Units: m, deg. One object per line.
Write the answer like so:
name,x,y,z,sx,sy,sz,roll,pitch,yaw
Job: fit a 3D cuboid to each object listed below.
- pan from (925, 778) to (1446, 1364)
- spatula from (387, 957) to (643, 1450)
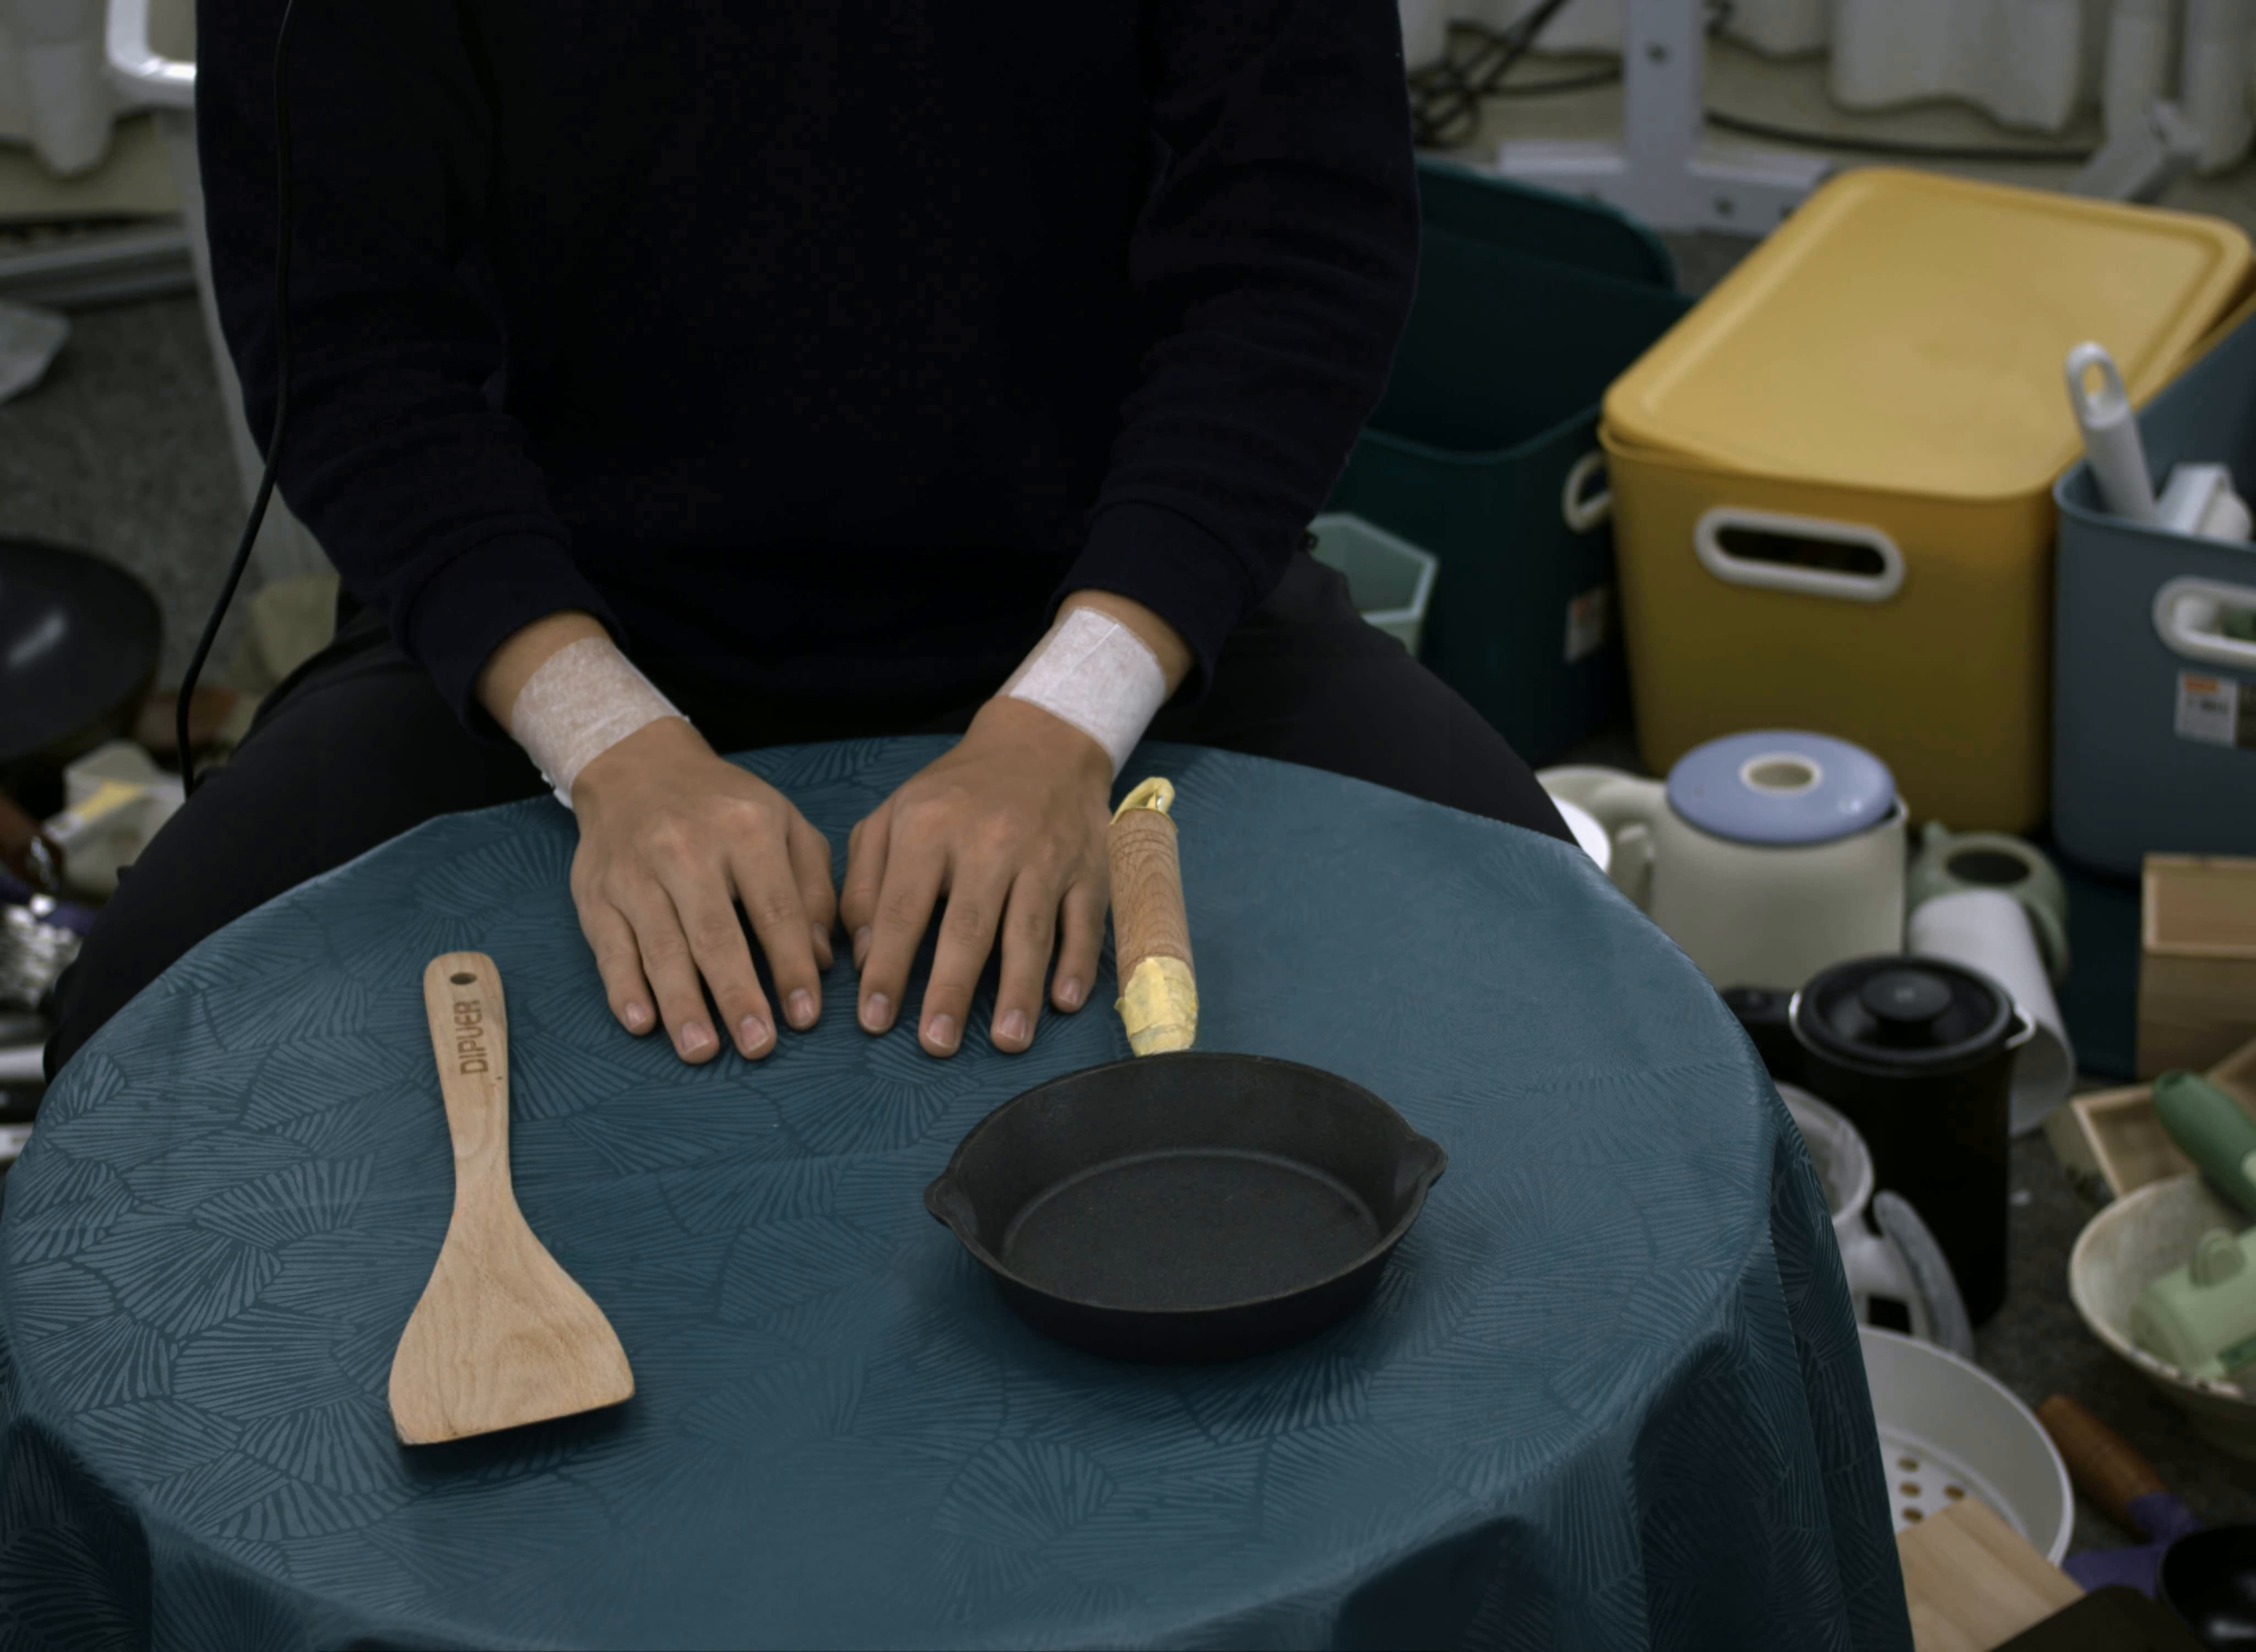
pan,0.016,0.079,1.888,0.168,0.049,0.329,-3,29,-1
spatula,-0.213,0.120,1.870,0.080,0.016,0.331,-6,28,-7
